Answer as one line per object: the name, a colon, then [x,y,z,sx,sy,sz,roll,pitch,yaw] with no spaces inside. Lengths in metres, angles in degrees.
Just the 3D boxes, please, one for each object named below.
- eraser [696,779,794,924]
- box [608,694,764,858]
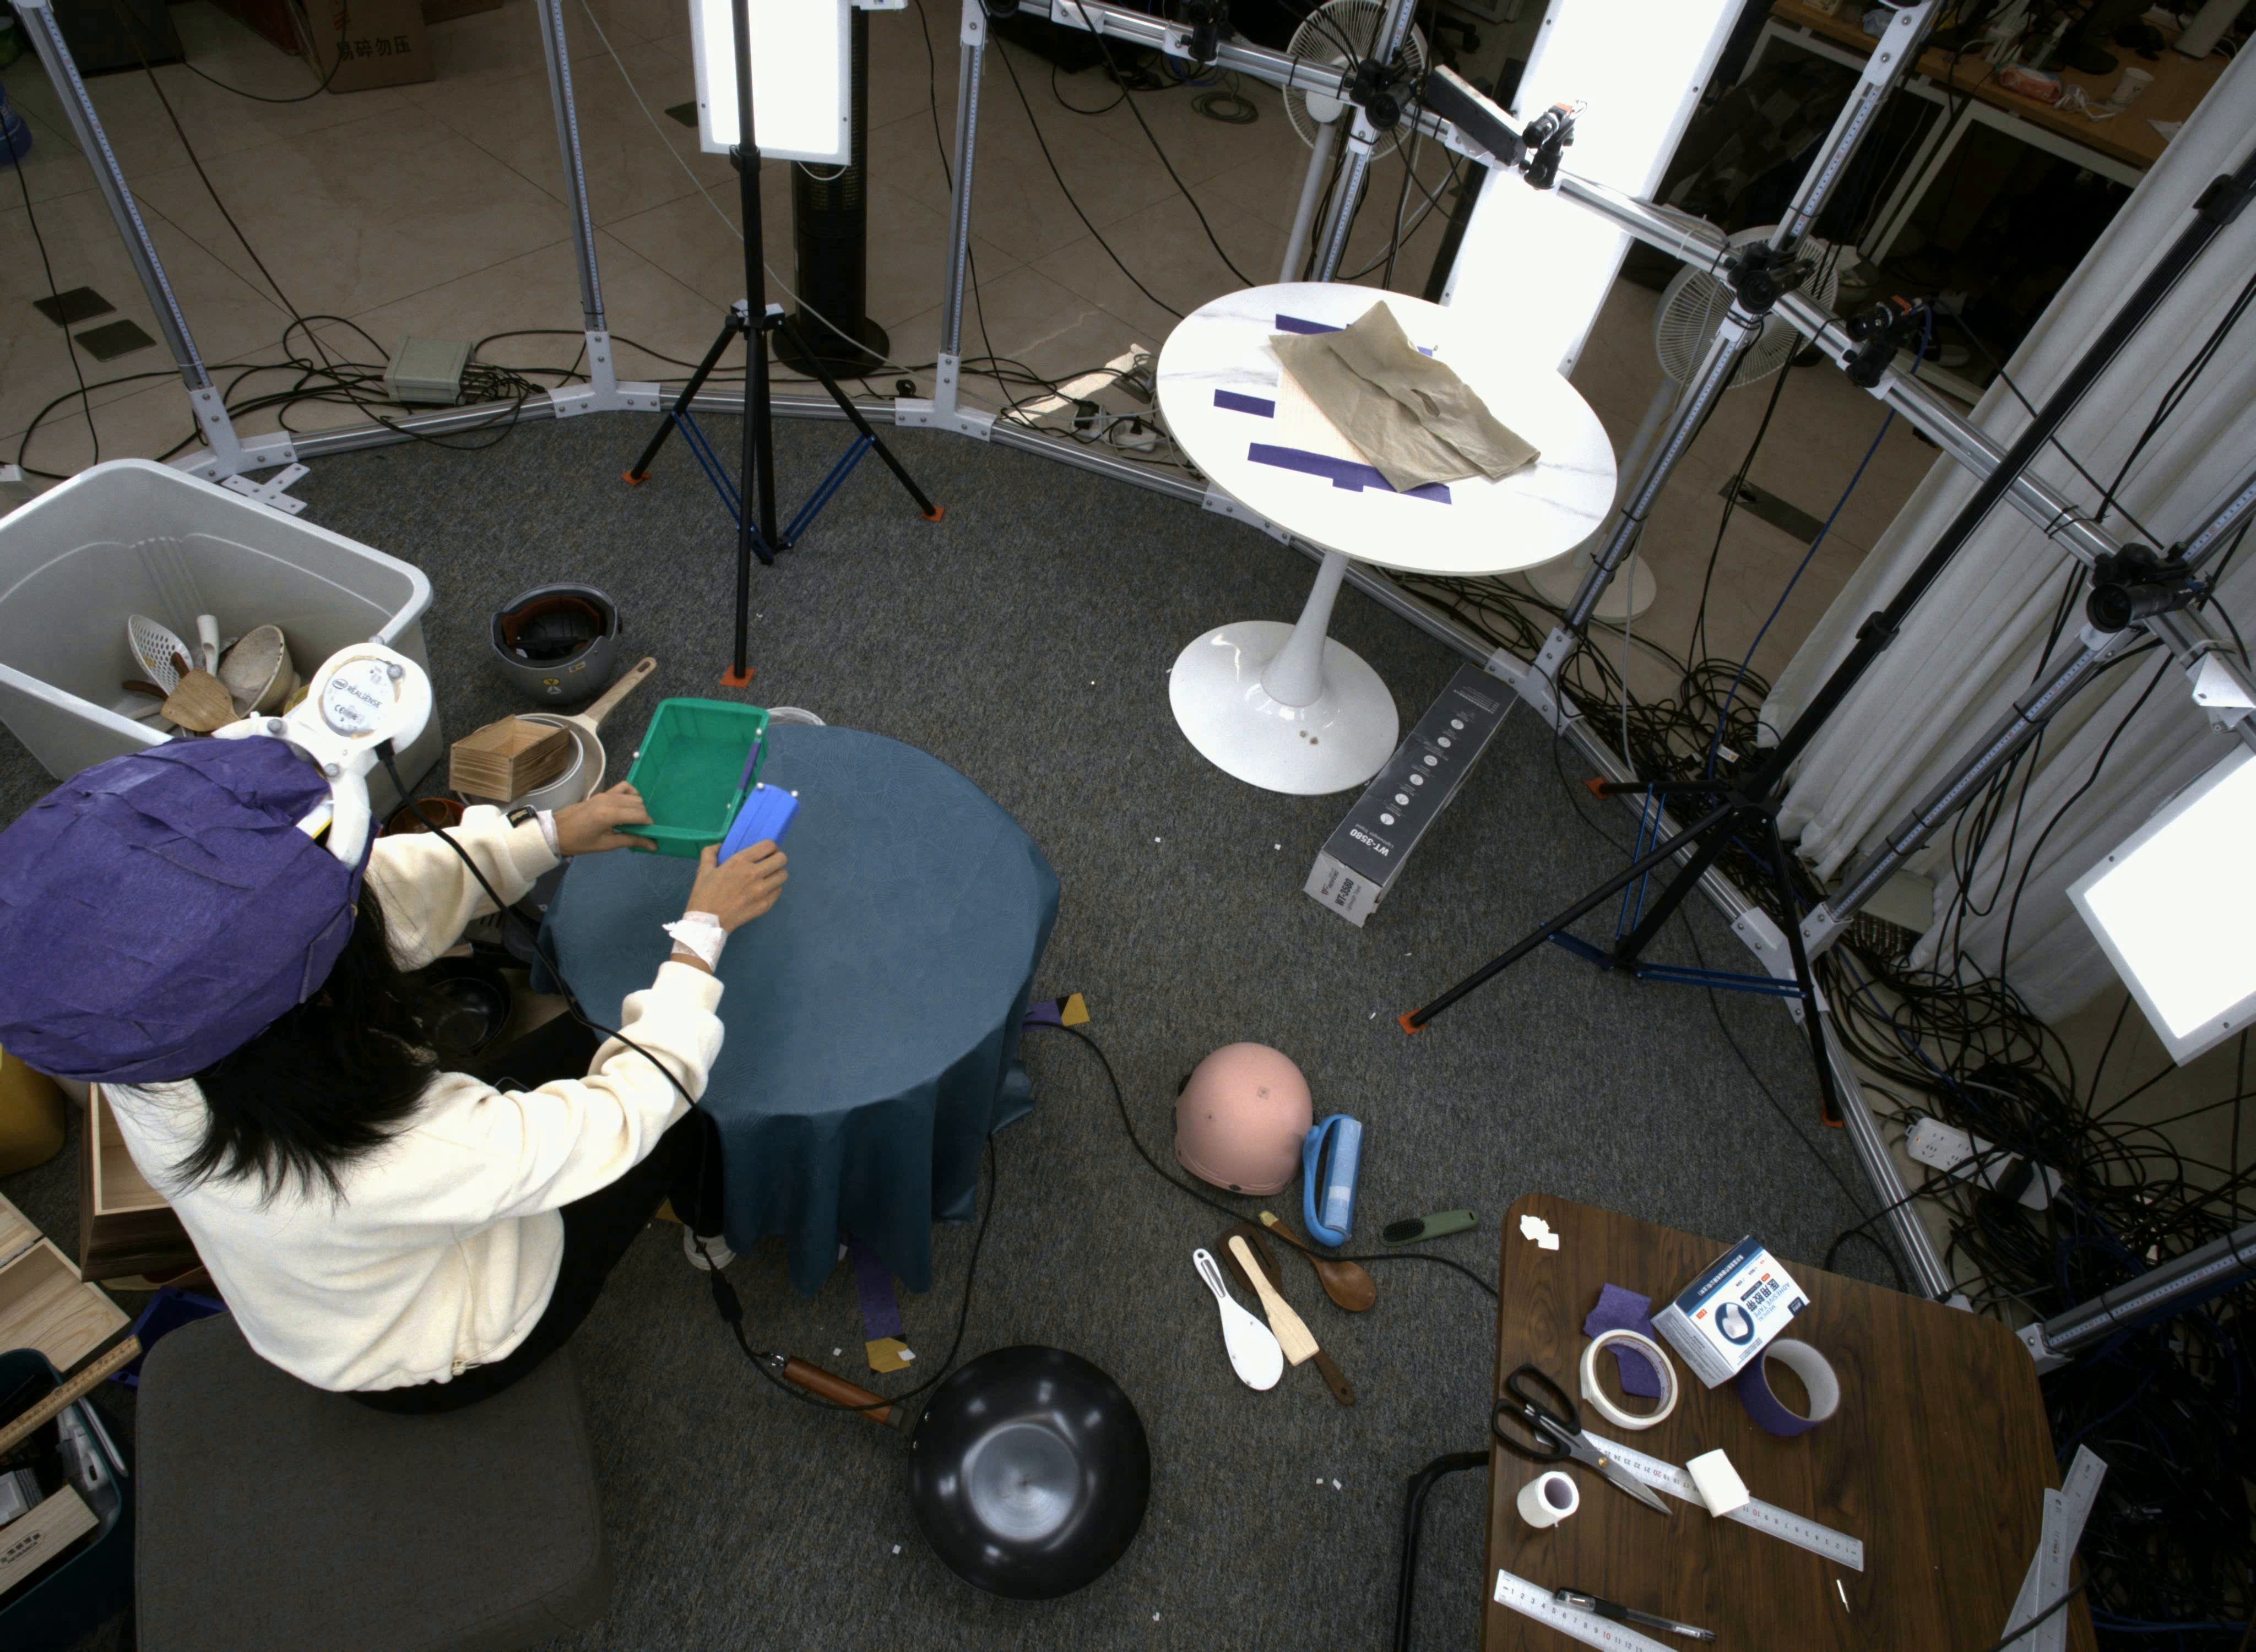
eraser: [-0.427,0.025,1.443,0.053,0.048,0.162,19,73,-1]
box: [-0.511,-0.057,1.505,0.137,0.067,0.207,7,51,-3]
